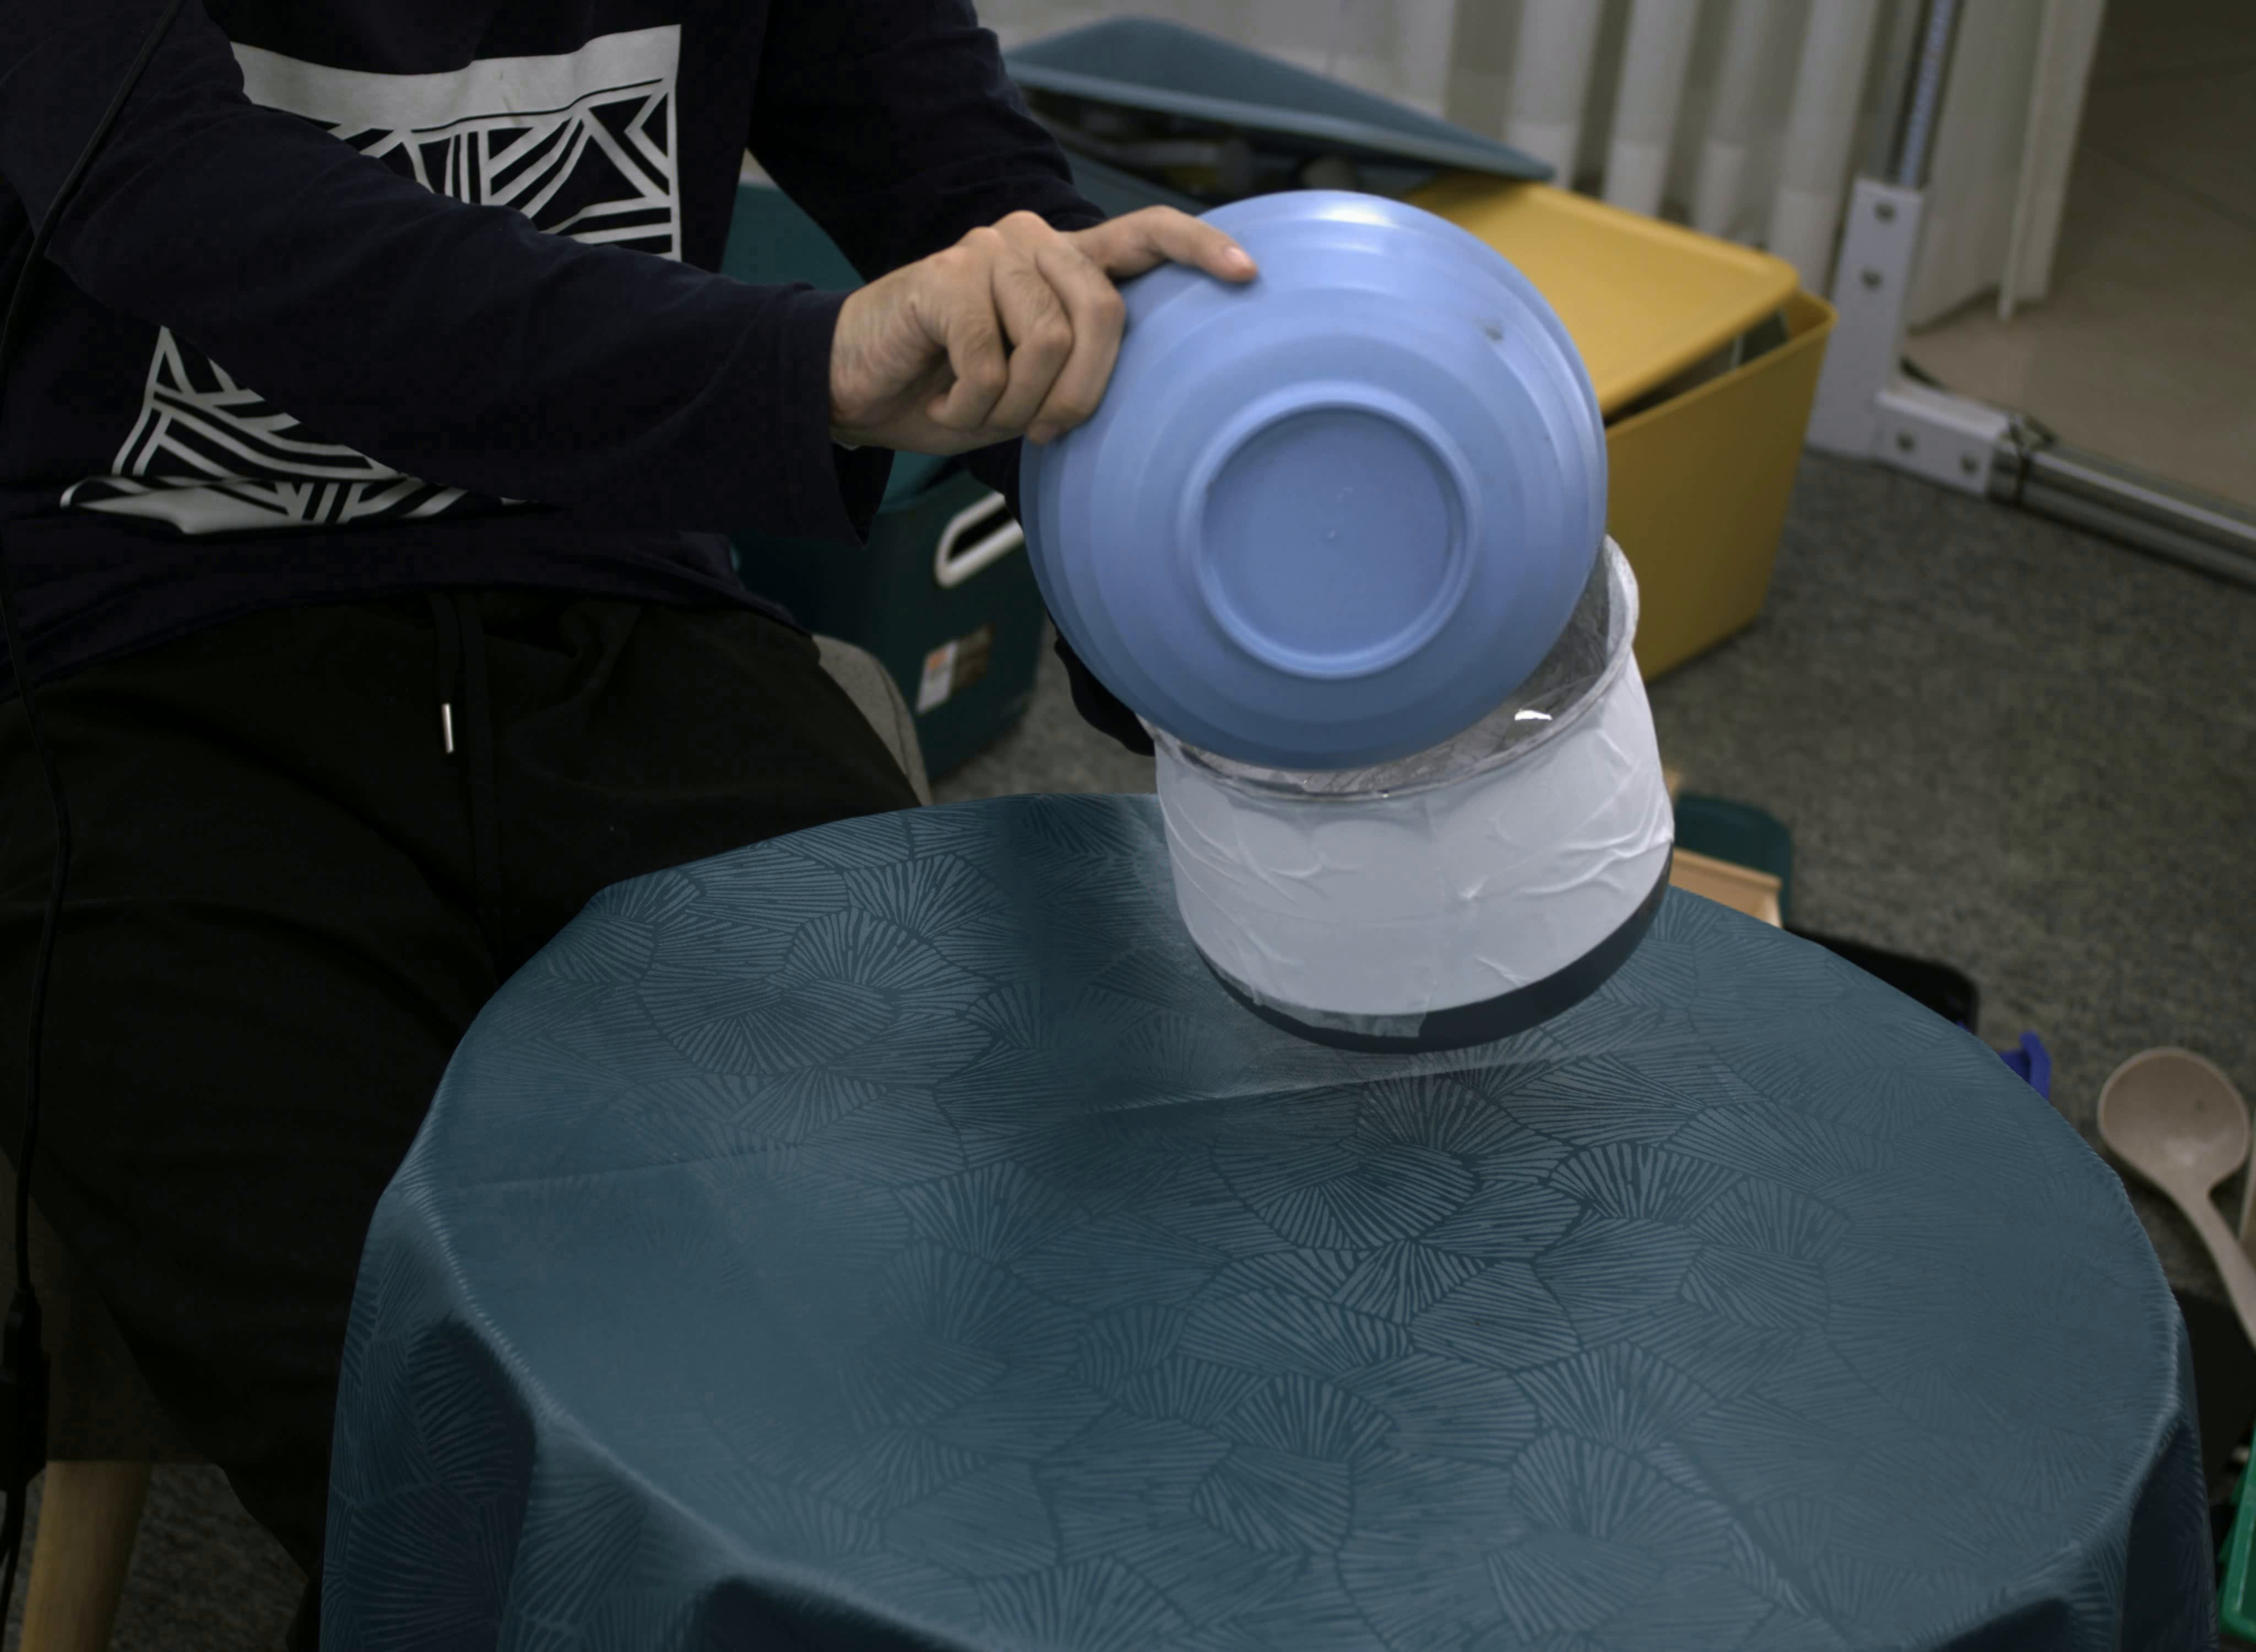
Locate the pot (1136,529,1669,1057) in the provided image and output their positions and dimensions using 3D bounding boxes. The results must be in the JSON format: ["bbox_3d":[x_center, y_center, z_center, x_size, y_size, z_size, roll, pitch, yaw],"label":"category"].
[{"bbox_3d":[0.083,-0.030,1.870,0.178,0.136,0.236,-26,40,-20],"label":"pot"}]

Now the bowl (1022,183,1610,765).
[{"bbox_3d":[0.062,-0.104,1.731,0.196,0.196,0.096,7,16,0],"label":"bowl"}]
